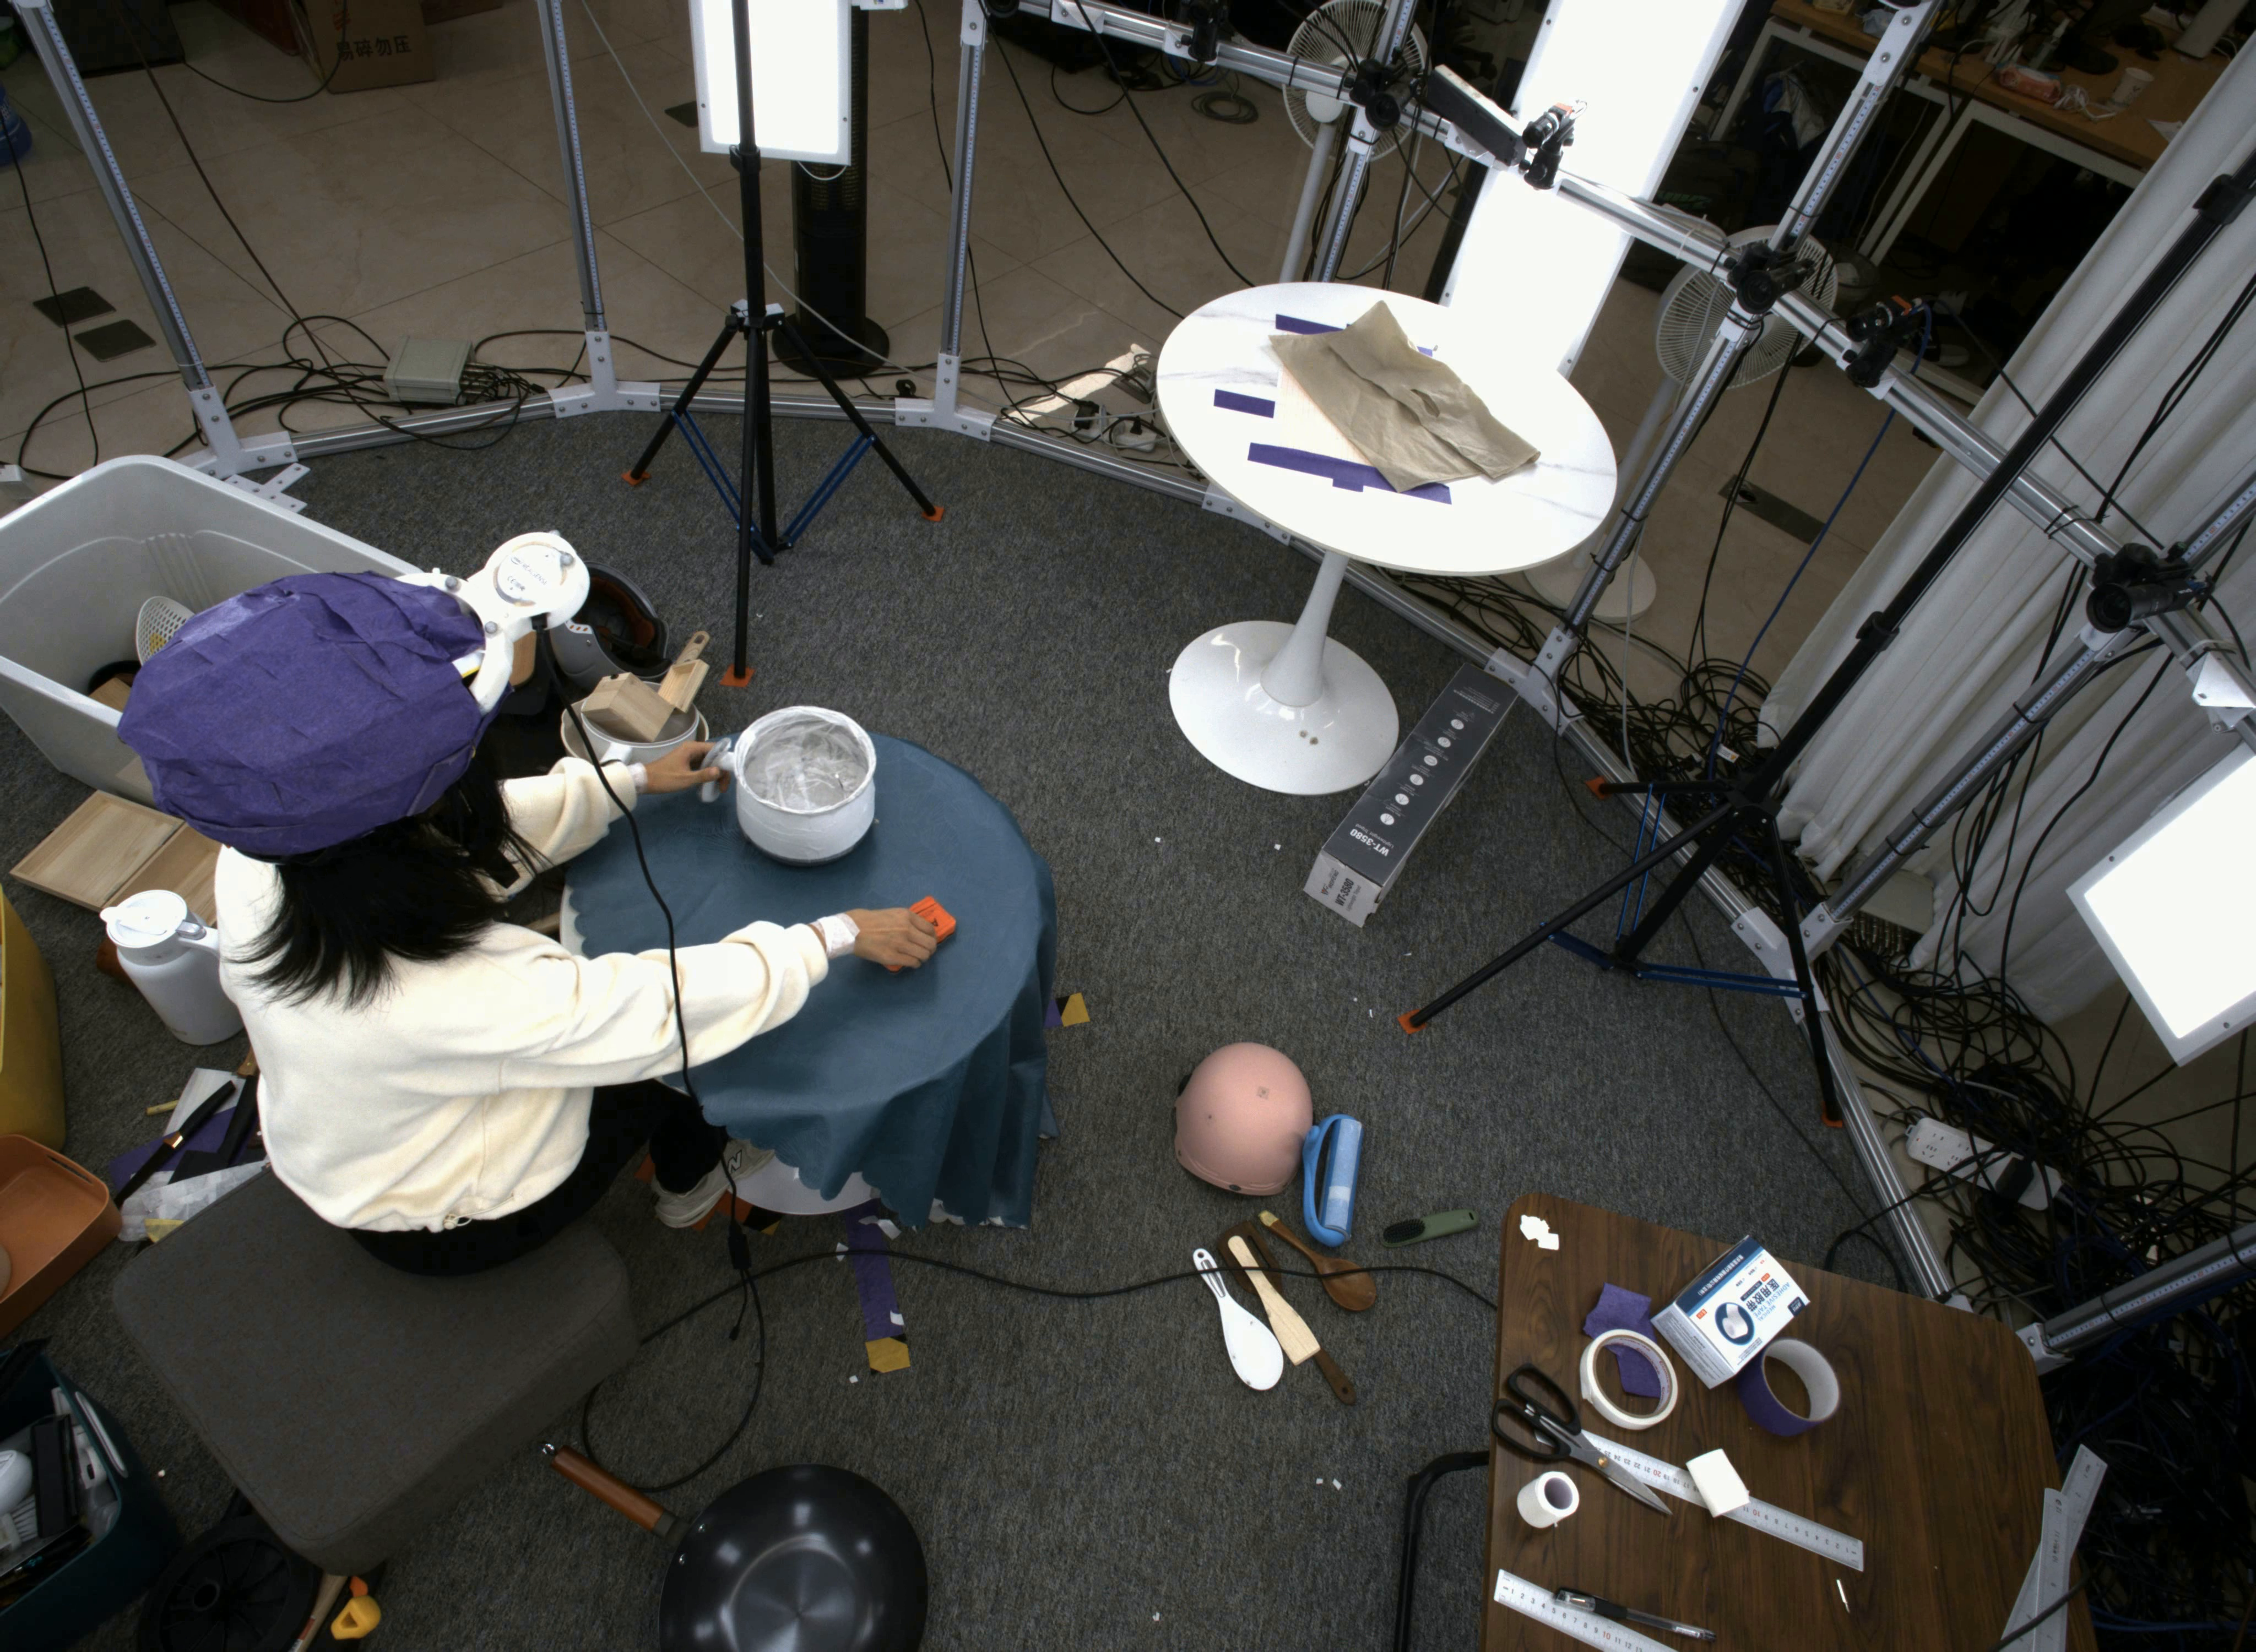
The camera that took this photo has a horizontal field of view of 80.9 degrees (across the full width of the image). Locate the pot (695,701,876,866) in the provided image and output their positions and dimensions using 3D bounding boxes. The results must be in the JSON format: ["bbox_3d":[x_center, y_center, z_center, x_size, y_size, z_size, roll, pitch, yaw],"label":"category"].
[{"bbox_3d":[-0.442,-0.056,1.664,0.233,0.139,0.175,11,50,-7],"label":"pot"}]

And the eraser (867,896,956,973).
[{"bbox_3d":[-0.273,0.135,1.643,0.057,0.023,0.108,39,55,23],"label":"eraser"}]
